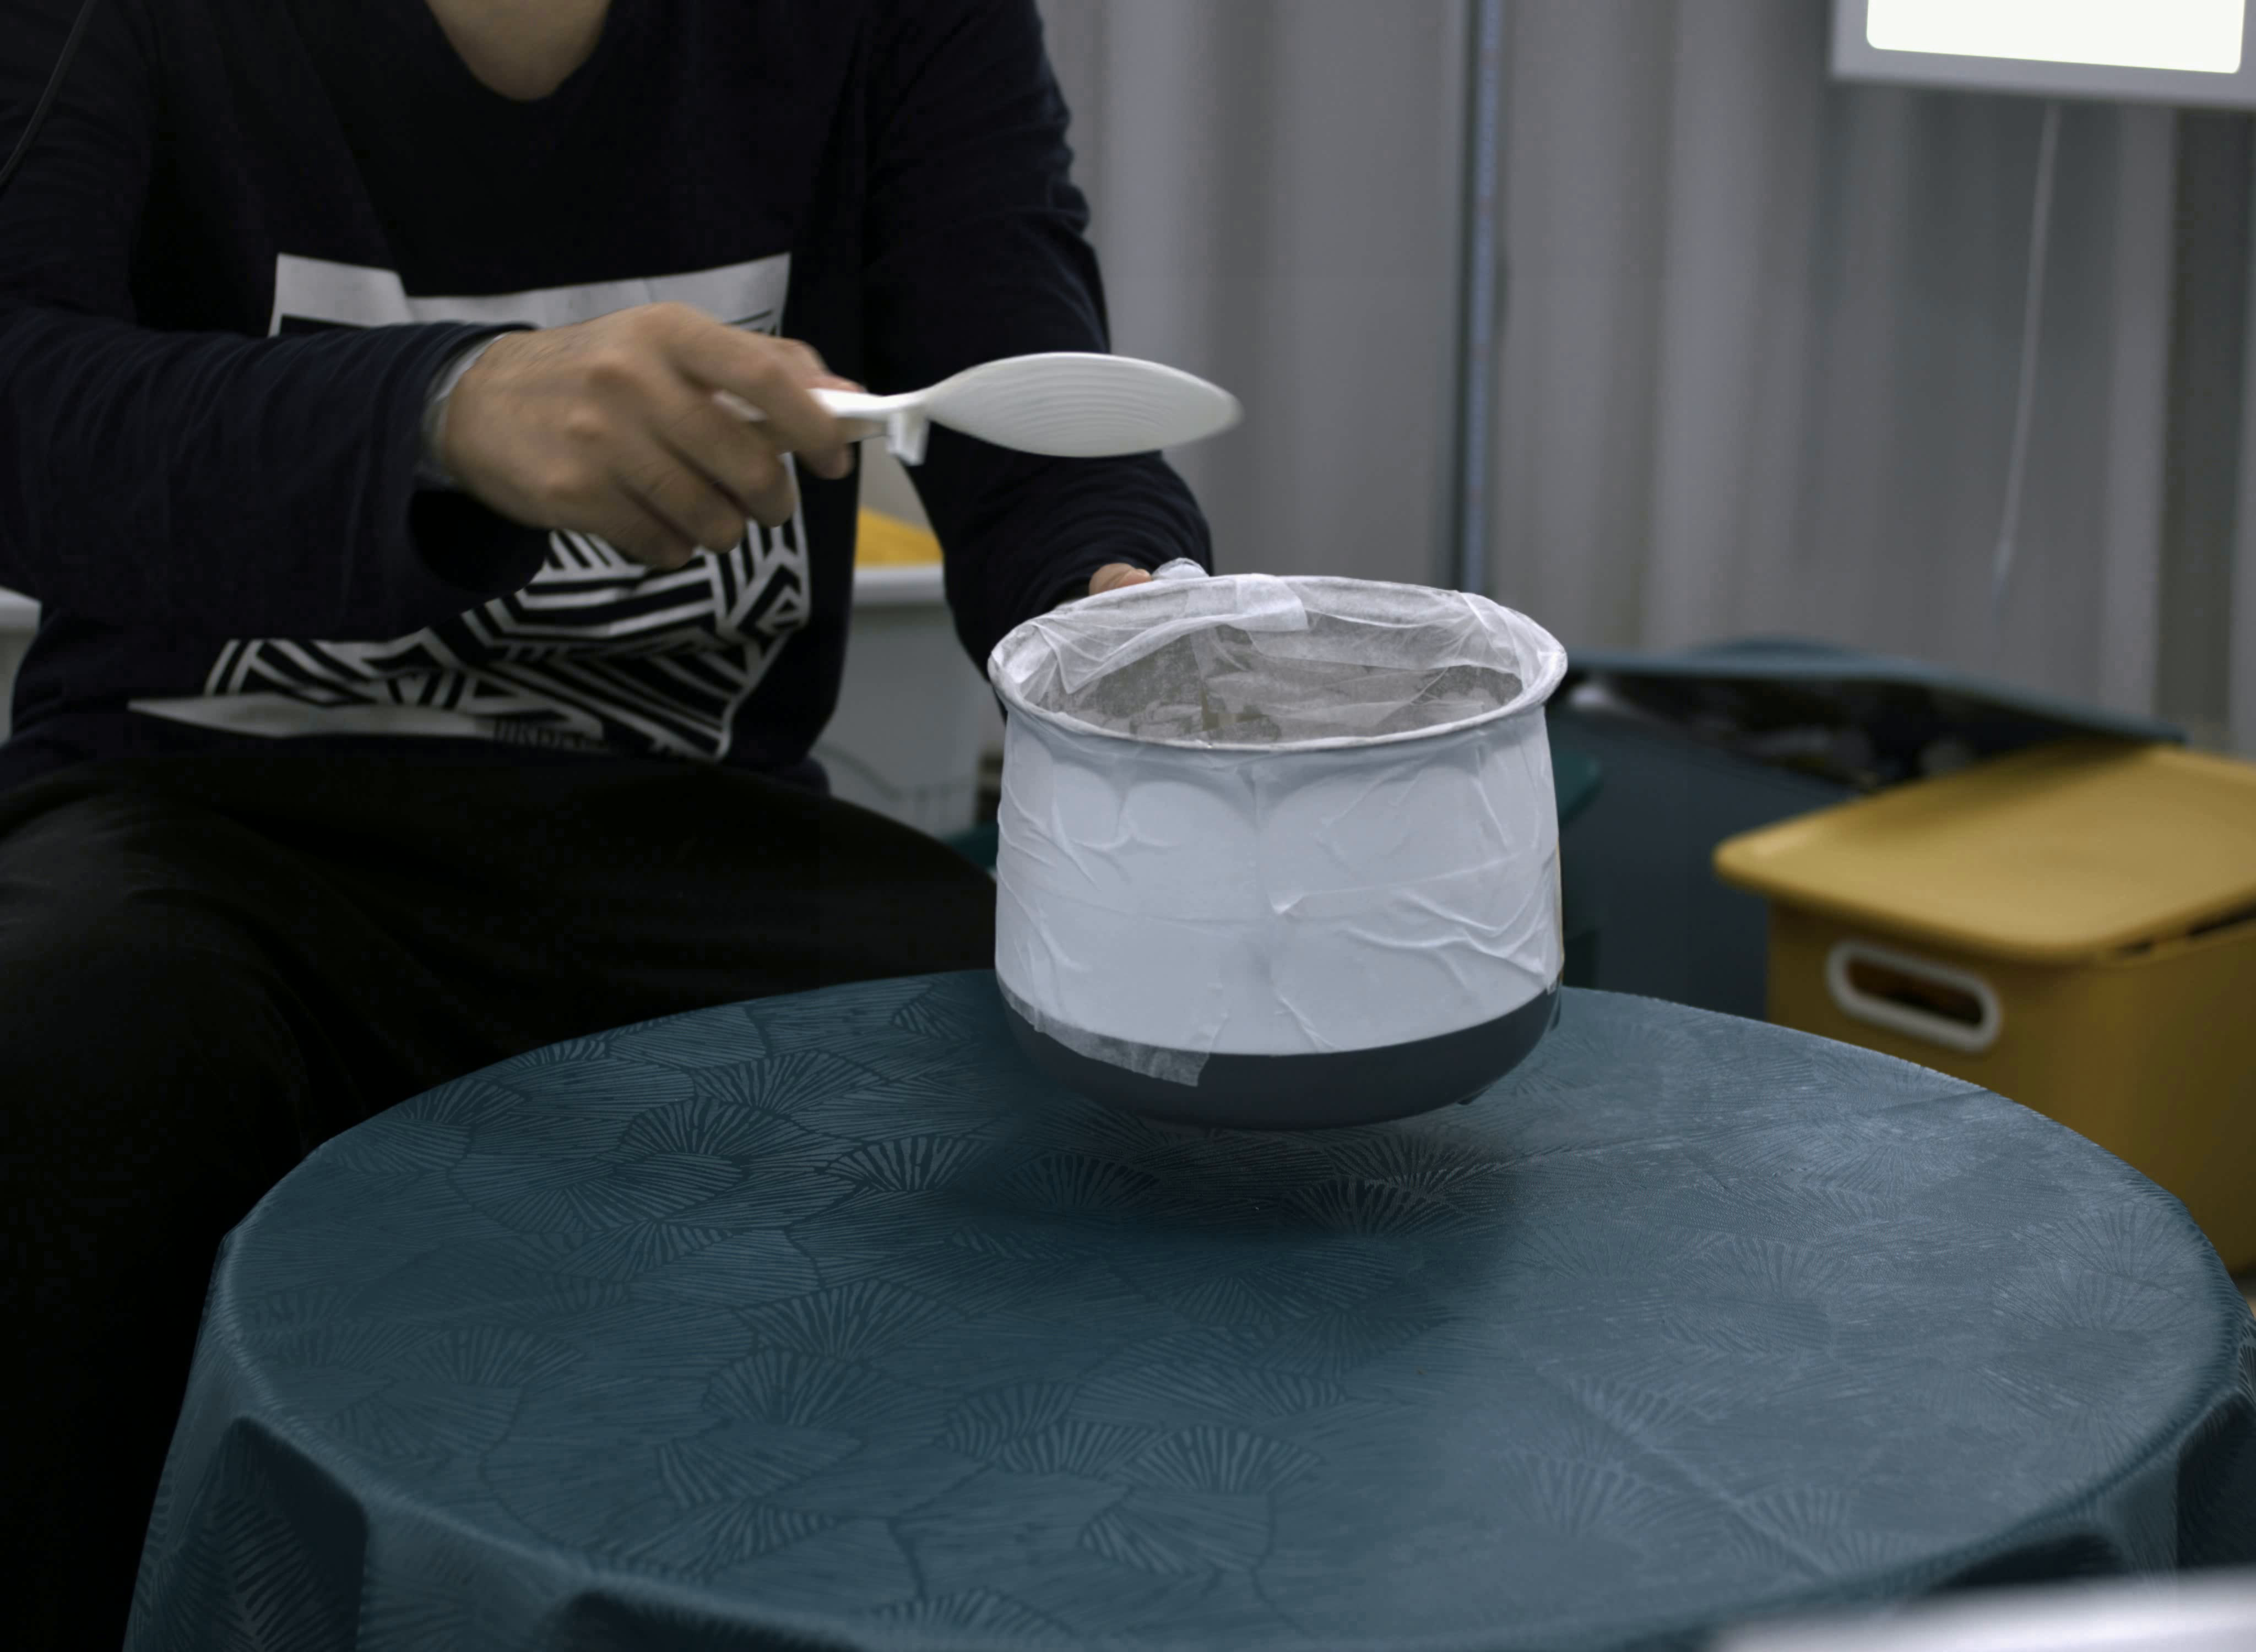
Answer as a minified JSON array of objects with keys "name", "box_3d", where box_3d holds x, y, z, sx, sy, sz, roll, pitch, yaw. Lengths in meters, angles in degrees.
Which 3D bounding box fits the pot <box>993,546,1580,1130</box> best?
[{"name":"pot","box_3d":[0.038,-0.002,1.647,0.179,0.138,0.231,-4,21,-18]}]

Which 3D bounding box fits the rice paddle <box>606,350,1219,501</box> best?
[{"name":"rice paddle","box_3d":[-0.064,-0.122,1.557,0.203,0.029,0.069,-4,-18,31]}]
